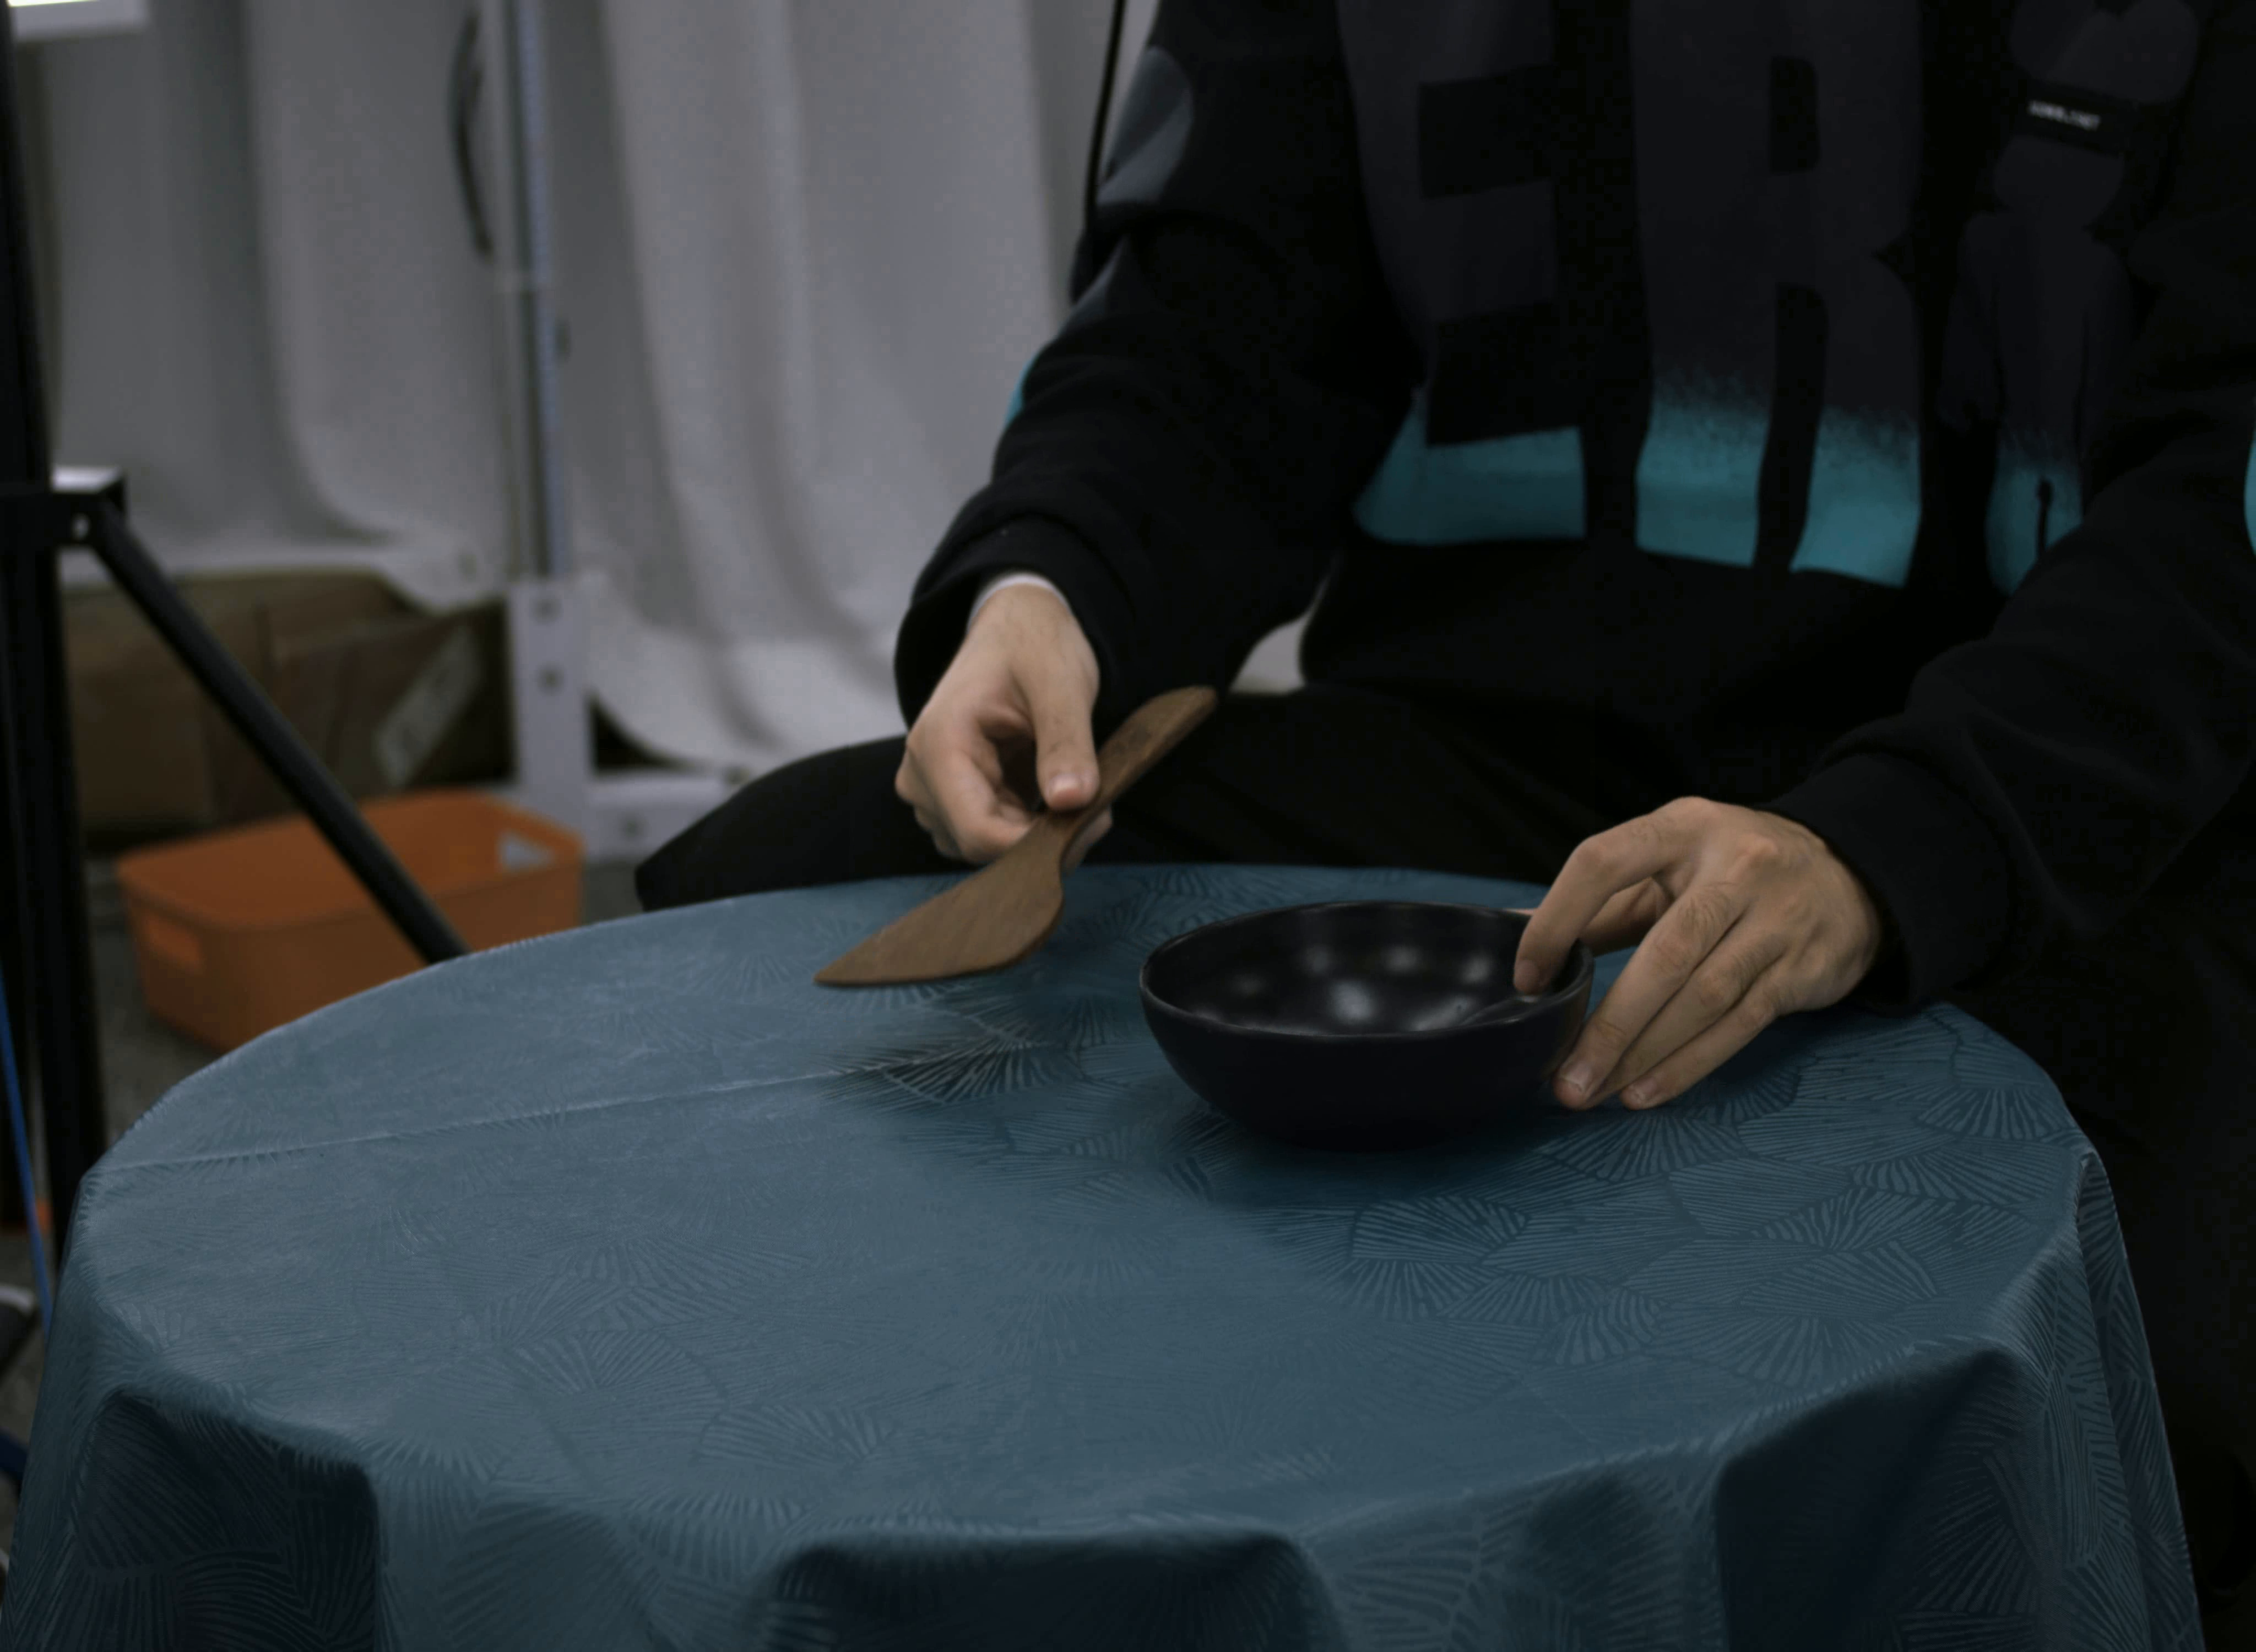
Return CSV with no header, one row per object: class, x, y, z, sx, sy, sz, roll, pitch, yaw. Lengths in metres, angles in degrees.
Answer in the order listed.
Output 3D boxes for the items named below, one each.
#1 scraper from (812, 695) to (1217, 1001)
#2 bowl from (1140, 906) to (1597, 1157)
scraper,-0.025,0.007,1.727,0.077,0.011,0.209,-4,26,32
bowl,0.074,0.066,1.606,0.139,0.050,0.140,-5,14,0
